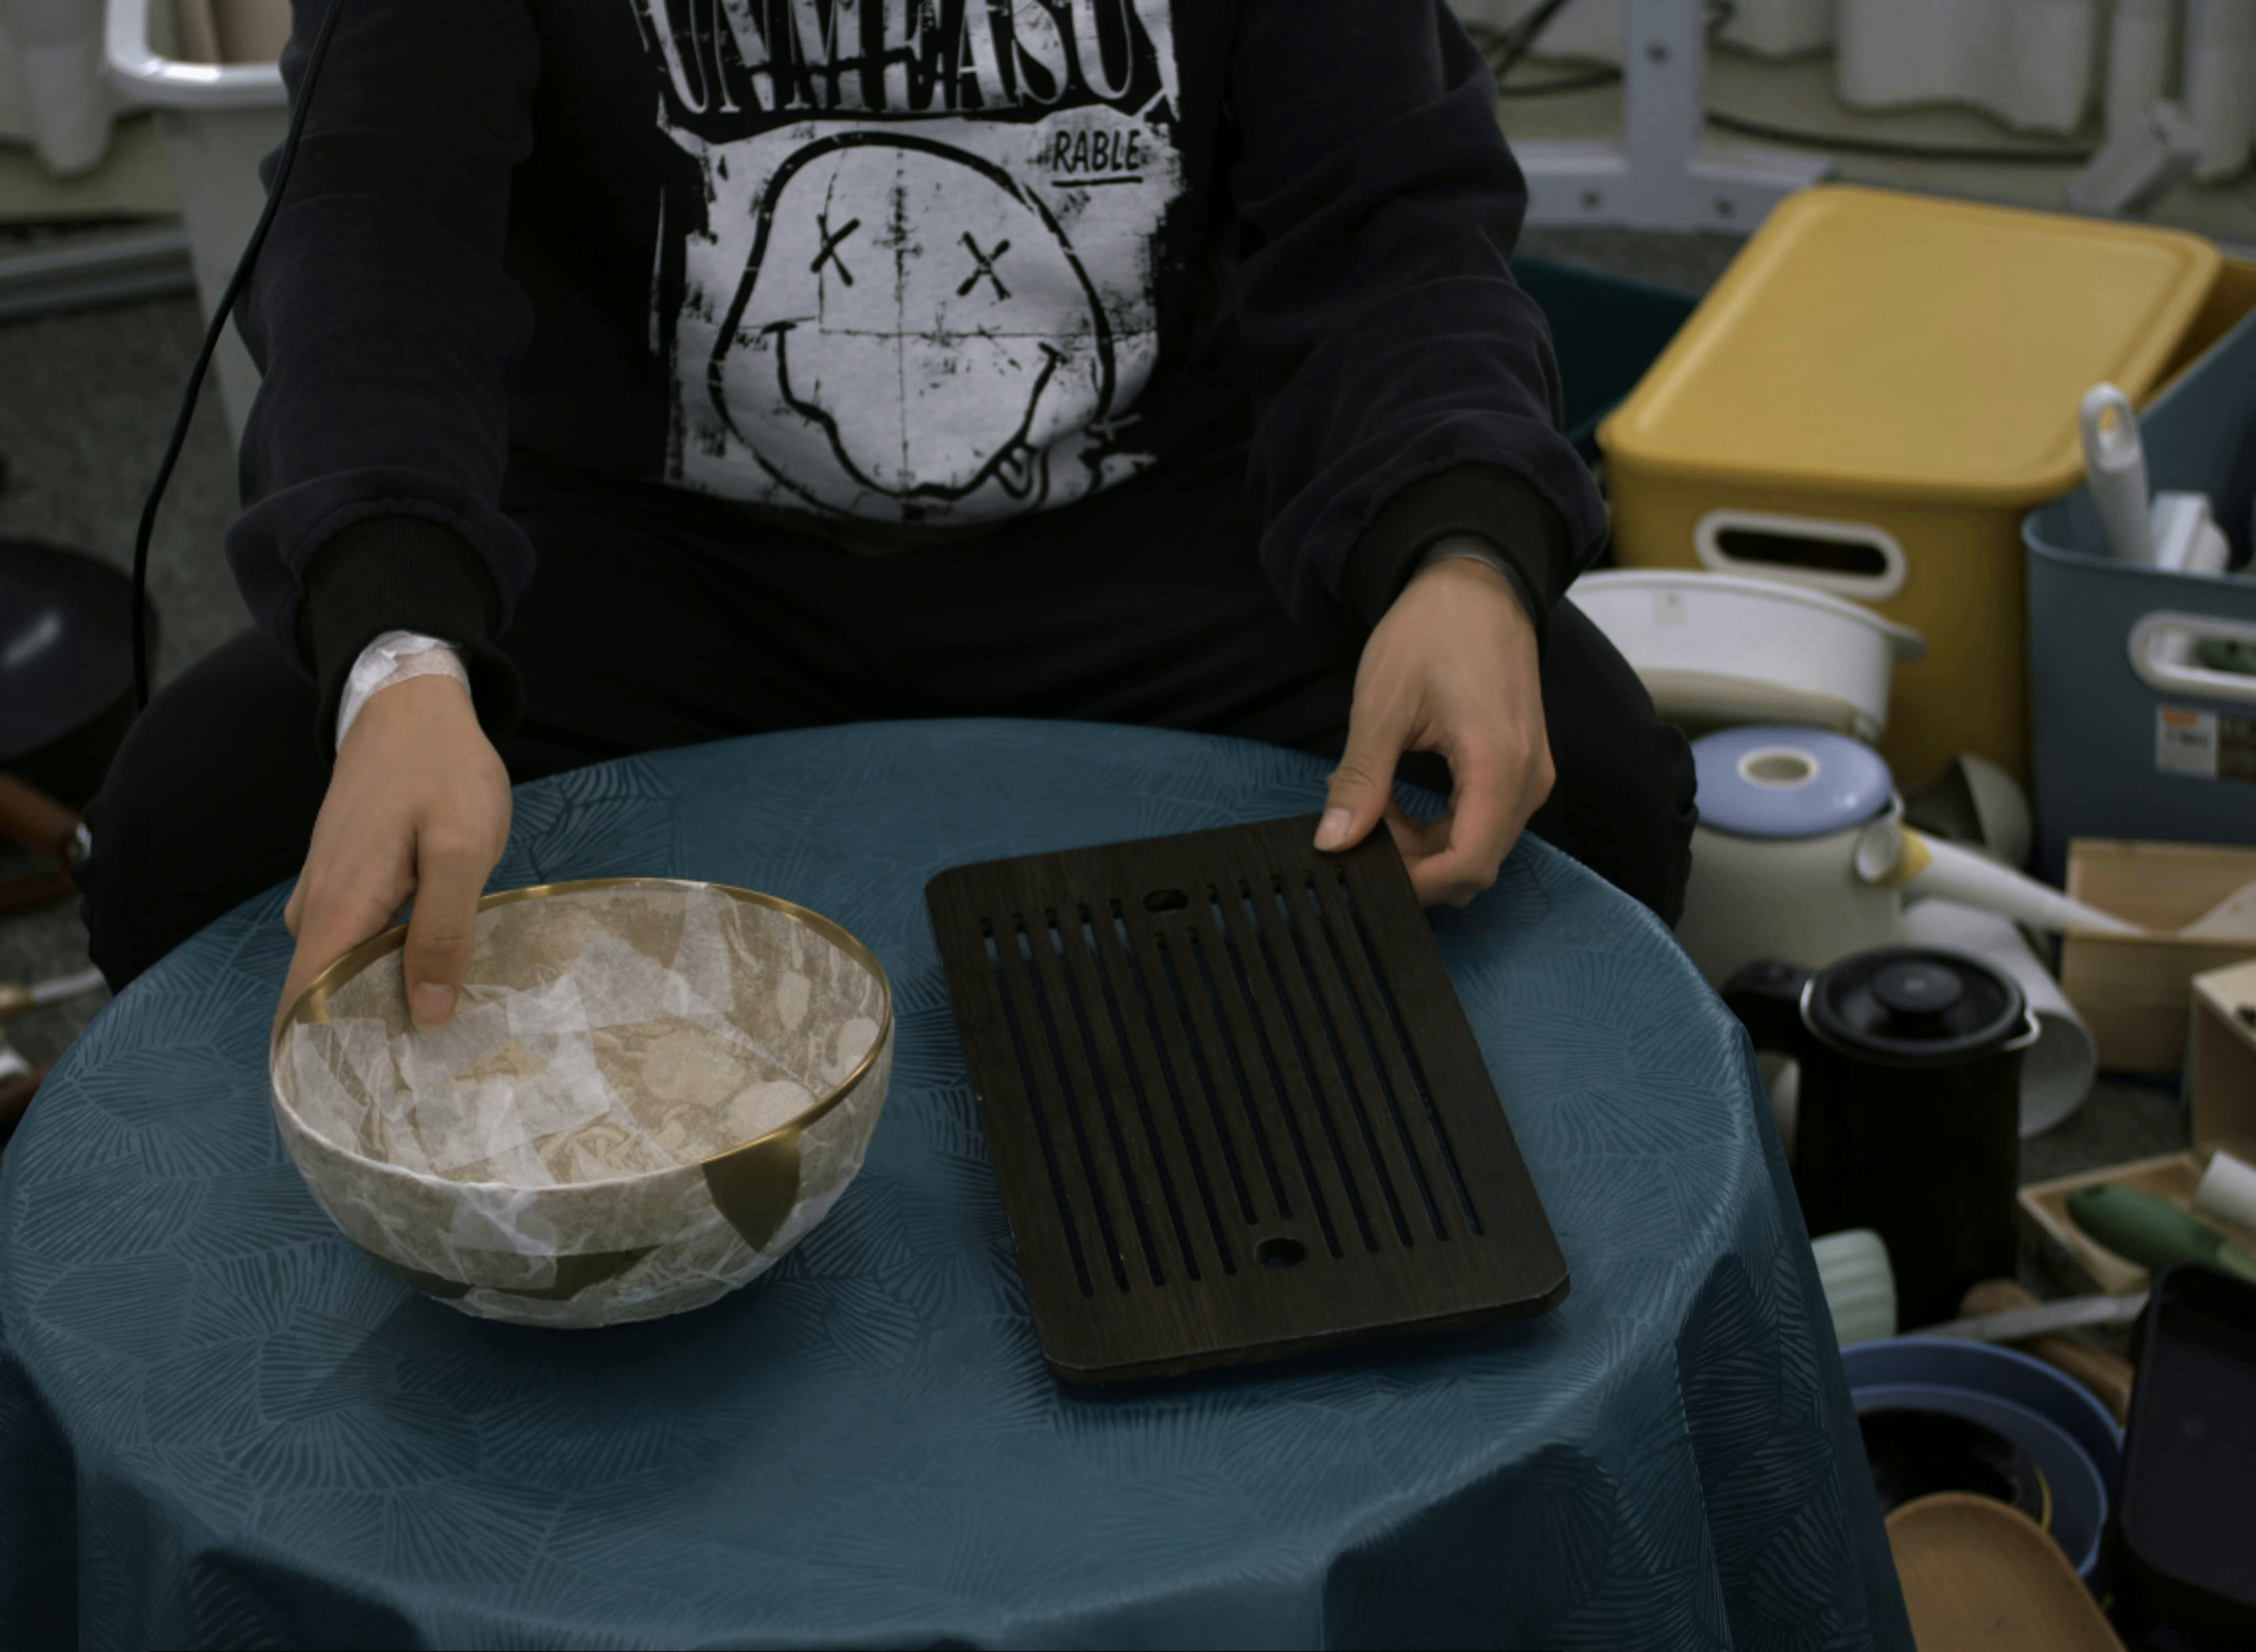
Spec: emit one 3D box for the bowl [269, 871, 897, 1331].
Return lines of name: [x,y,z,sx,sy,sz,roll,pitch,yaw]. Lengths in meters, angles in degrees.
bowl: [-0.169,0.101,1.818,0.213,0.093,0.218,-3,26,2]

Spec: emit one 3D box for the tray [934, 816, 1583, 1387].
tray: [0.037,0.089,1.882,0.170,0.018,0.310,-8,30,-6]
